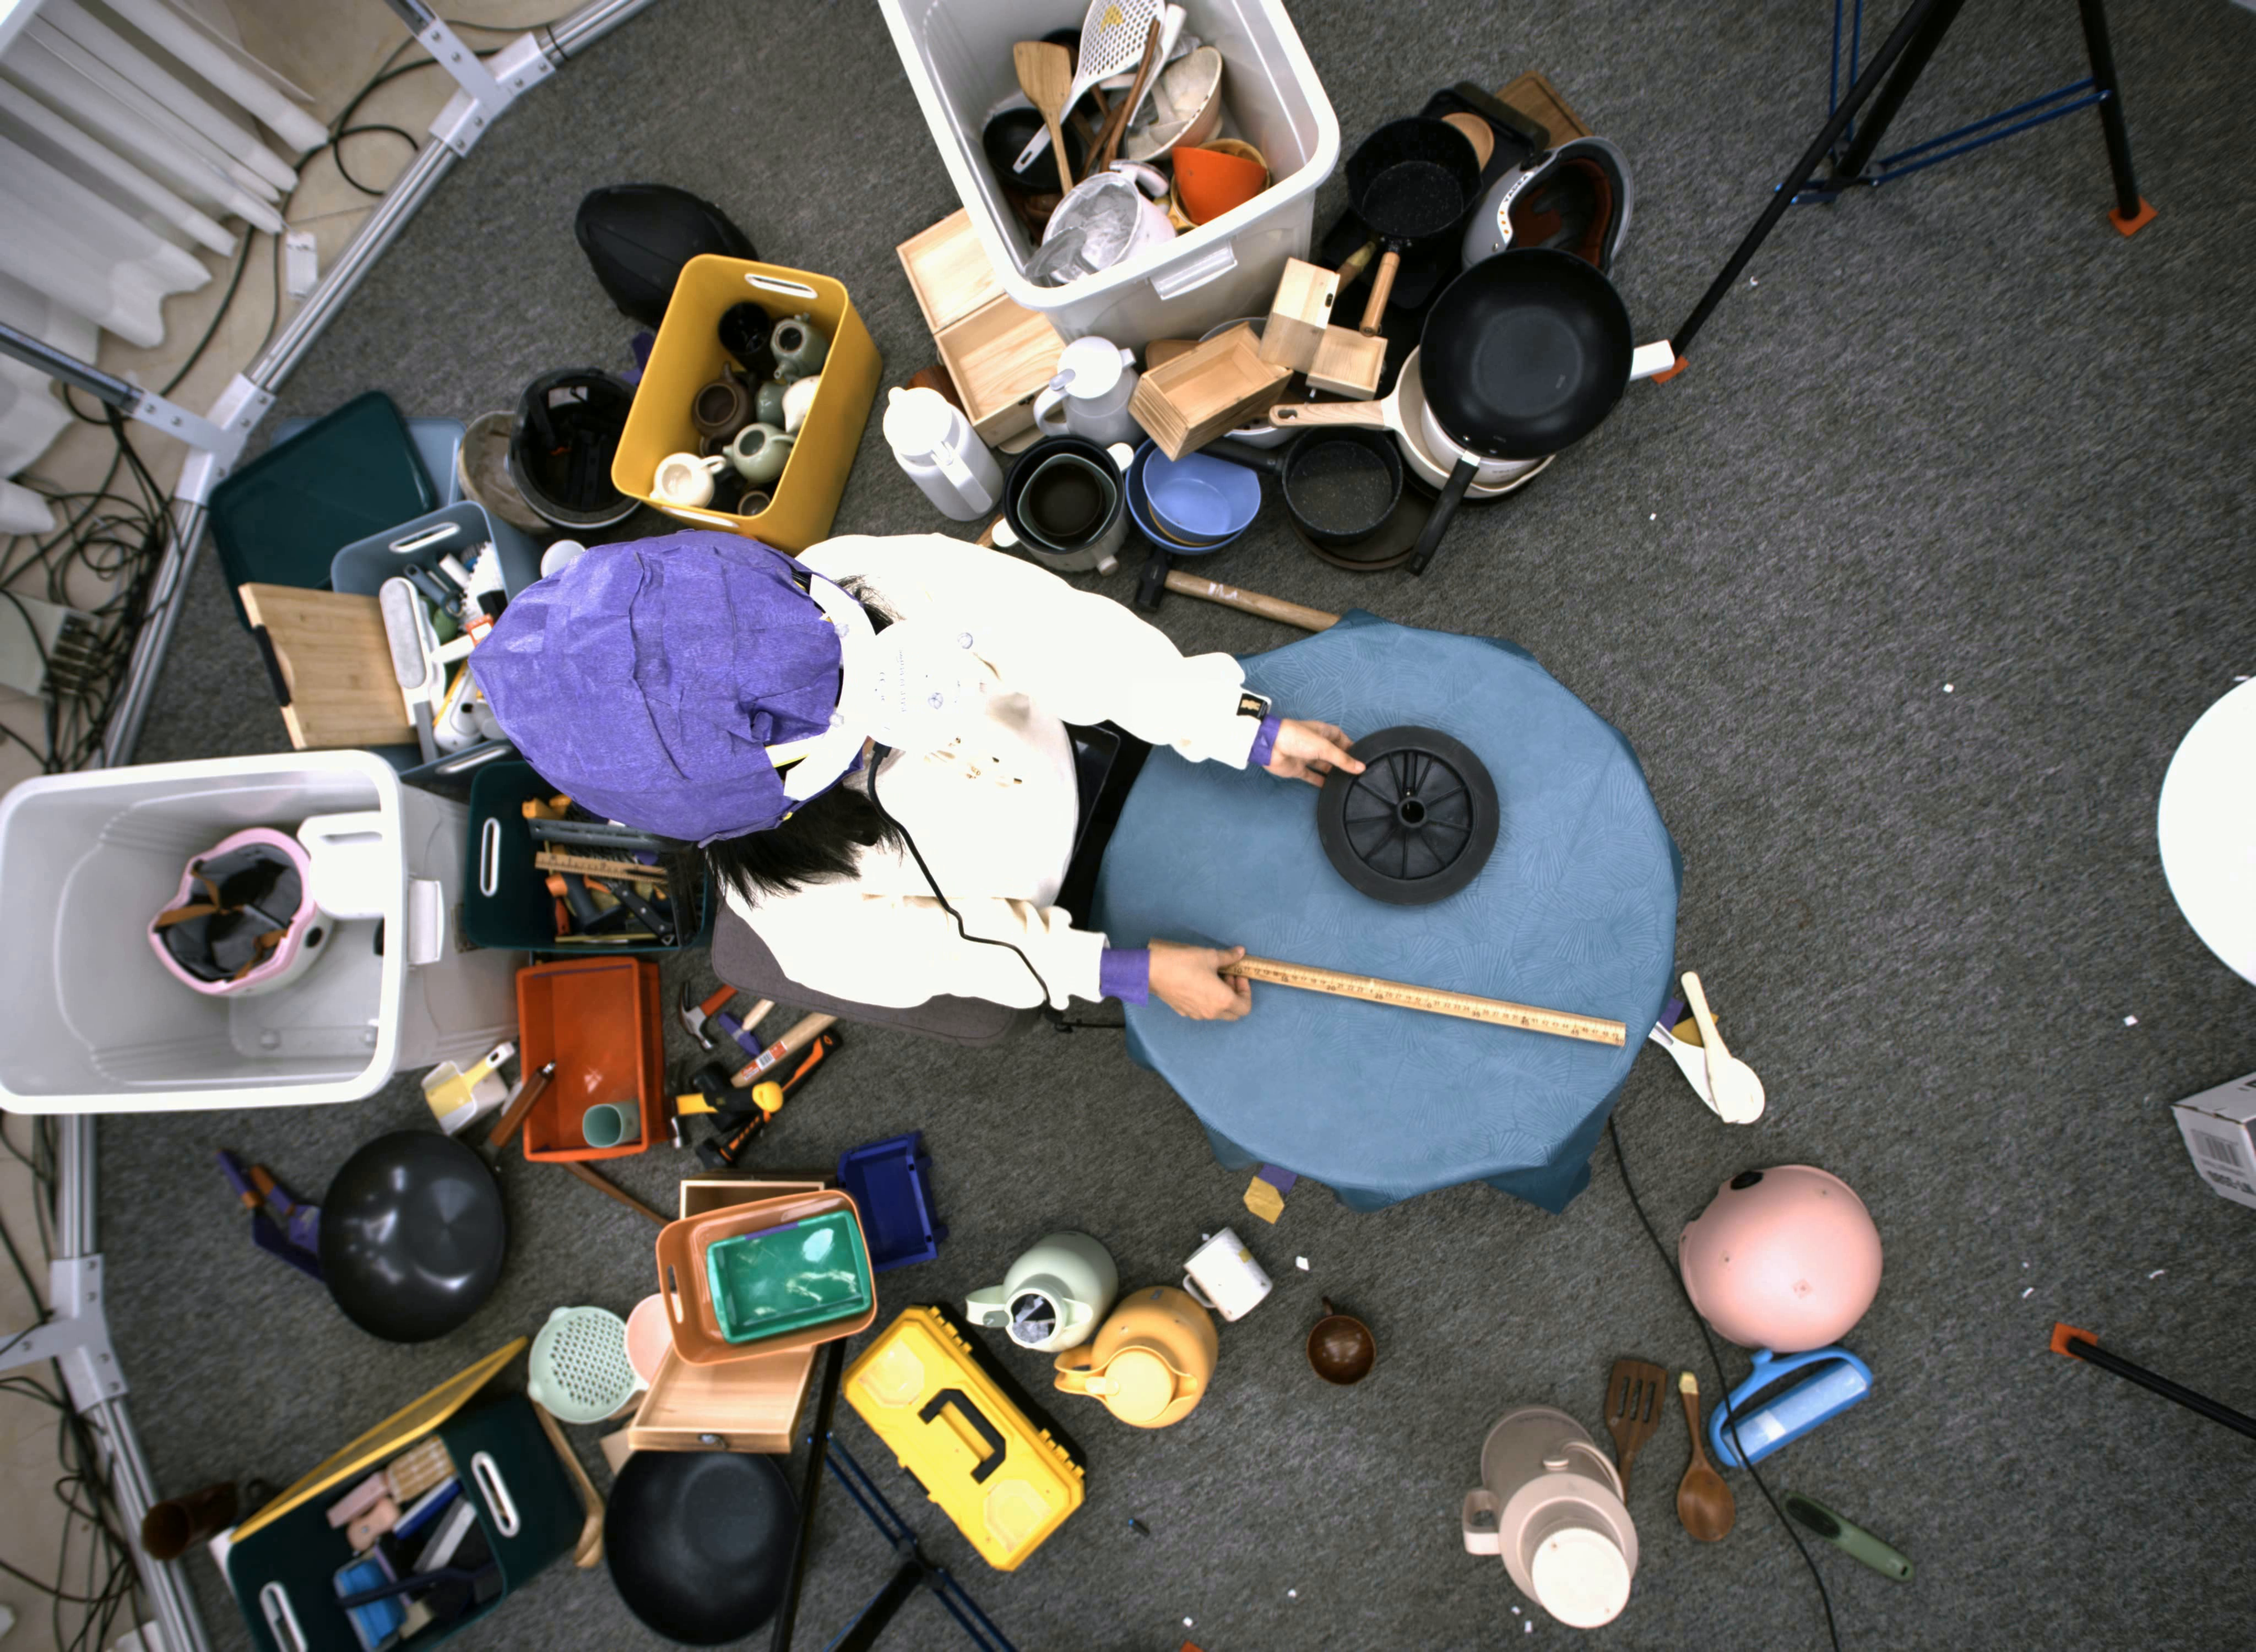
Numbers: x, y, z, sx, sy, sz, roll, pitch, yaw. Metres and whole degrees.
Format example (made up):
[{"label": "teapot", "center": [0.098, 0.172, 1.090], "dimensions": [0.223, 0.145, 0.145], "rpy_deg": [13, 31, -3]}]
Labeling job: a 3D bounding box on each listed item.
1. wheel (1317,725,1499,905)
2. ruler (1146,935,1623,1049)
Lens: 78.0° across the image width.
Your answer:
[{"label": "wheel", "center": [0.290, -0.015, 1.421], "dimensions": [0.188, 0.079, 0.189], "rpy_deg": [-19, 87, 7]}, {"label": "ruler", "center": [0.263, 0.171, 1.450], "dimensions": [0.501, 0.006, 0.026], "rpy_deg": [10, 72, 11]}]
